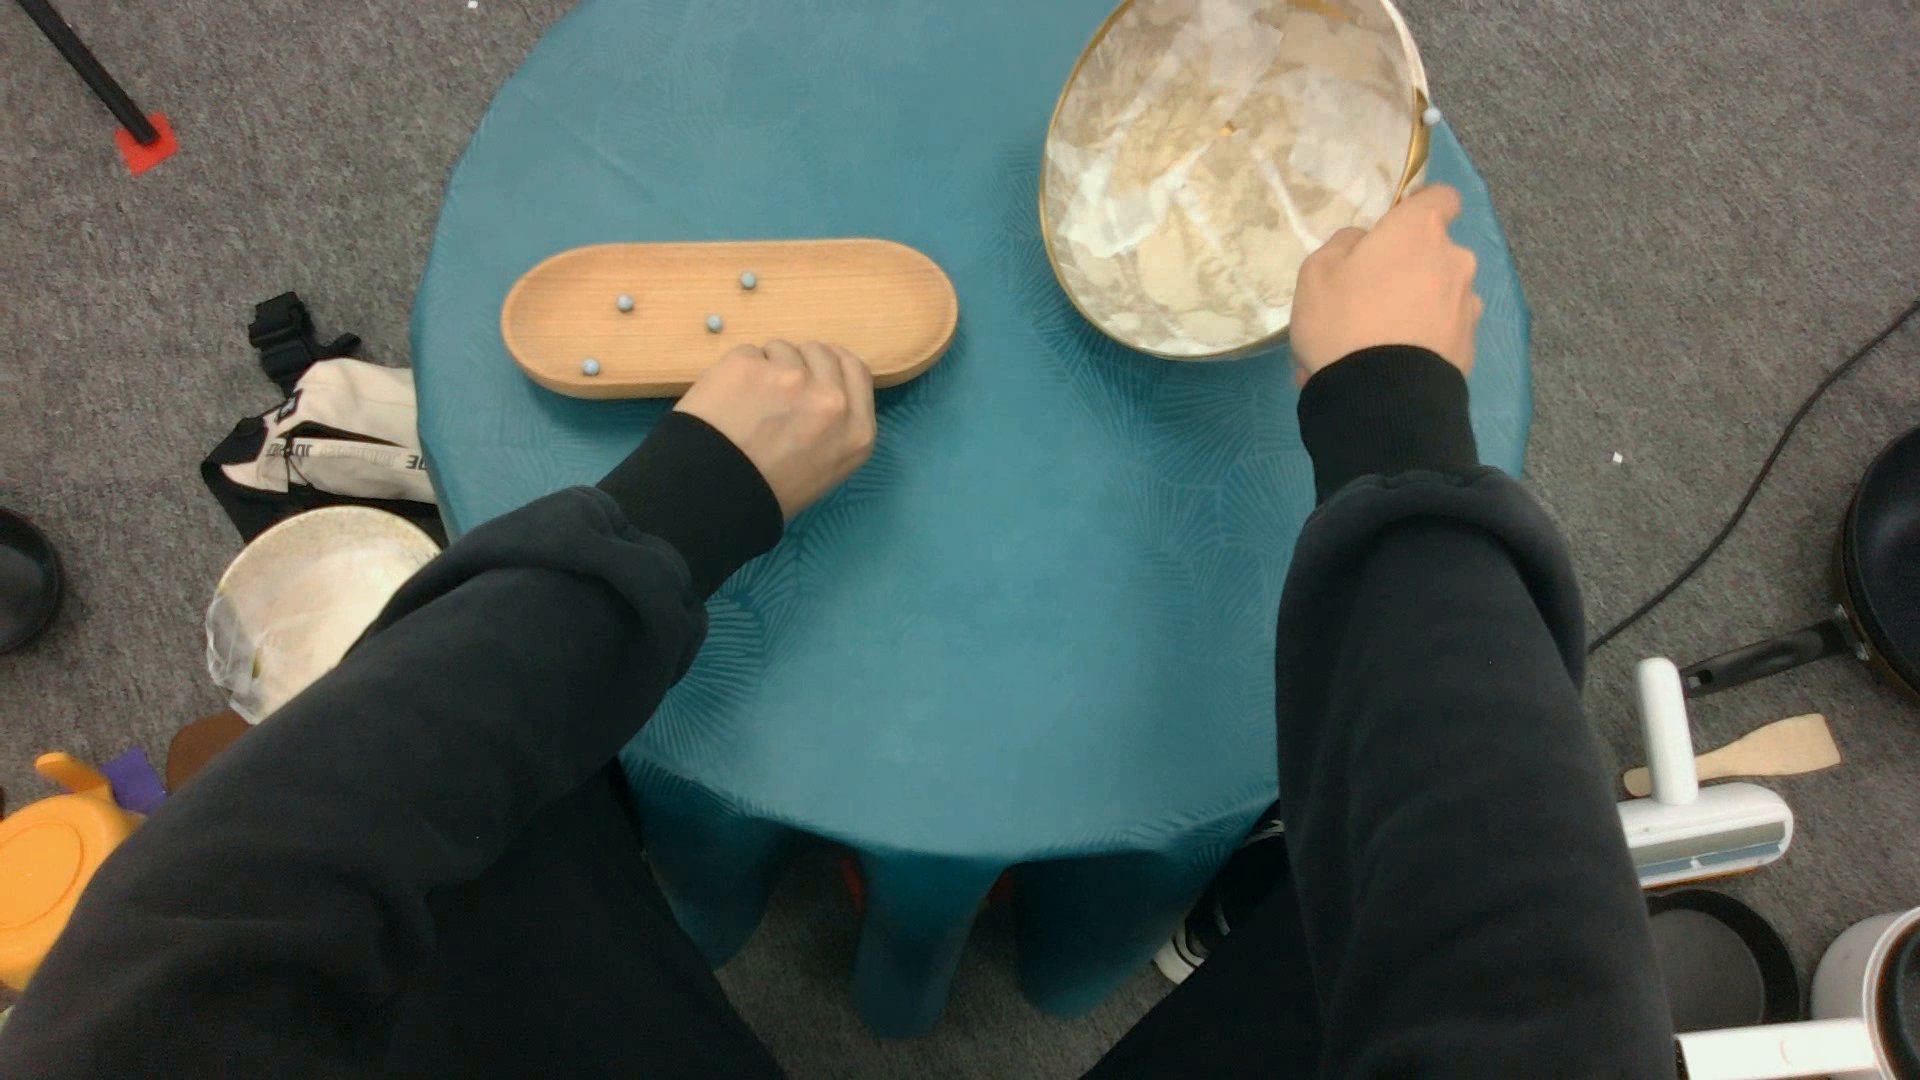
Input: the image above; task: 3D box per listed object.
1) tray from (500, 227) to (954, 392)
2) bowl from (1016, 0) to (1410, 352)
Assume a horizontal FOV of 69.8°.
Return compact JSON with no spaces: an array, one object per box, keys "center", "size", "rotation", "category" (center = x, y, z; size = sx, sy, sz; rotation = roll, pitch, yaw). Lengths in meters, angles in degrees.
[{"center":[-0.118,-0.120,0.714],"size":[0.231,0.020,0.102],"rotation":[-3,56,-8],"category":"tray"},{"center":[0.135,-0.189,0.710],"size":[0.214,0.095,0.215],"rotation":[-2,86,33],"category":"bowl"}]
